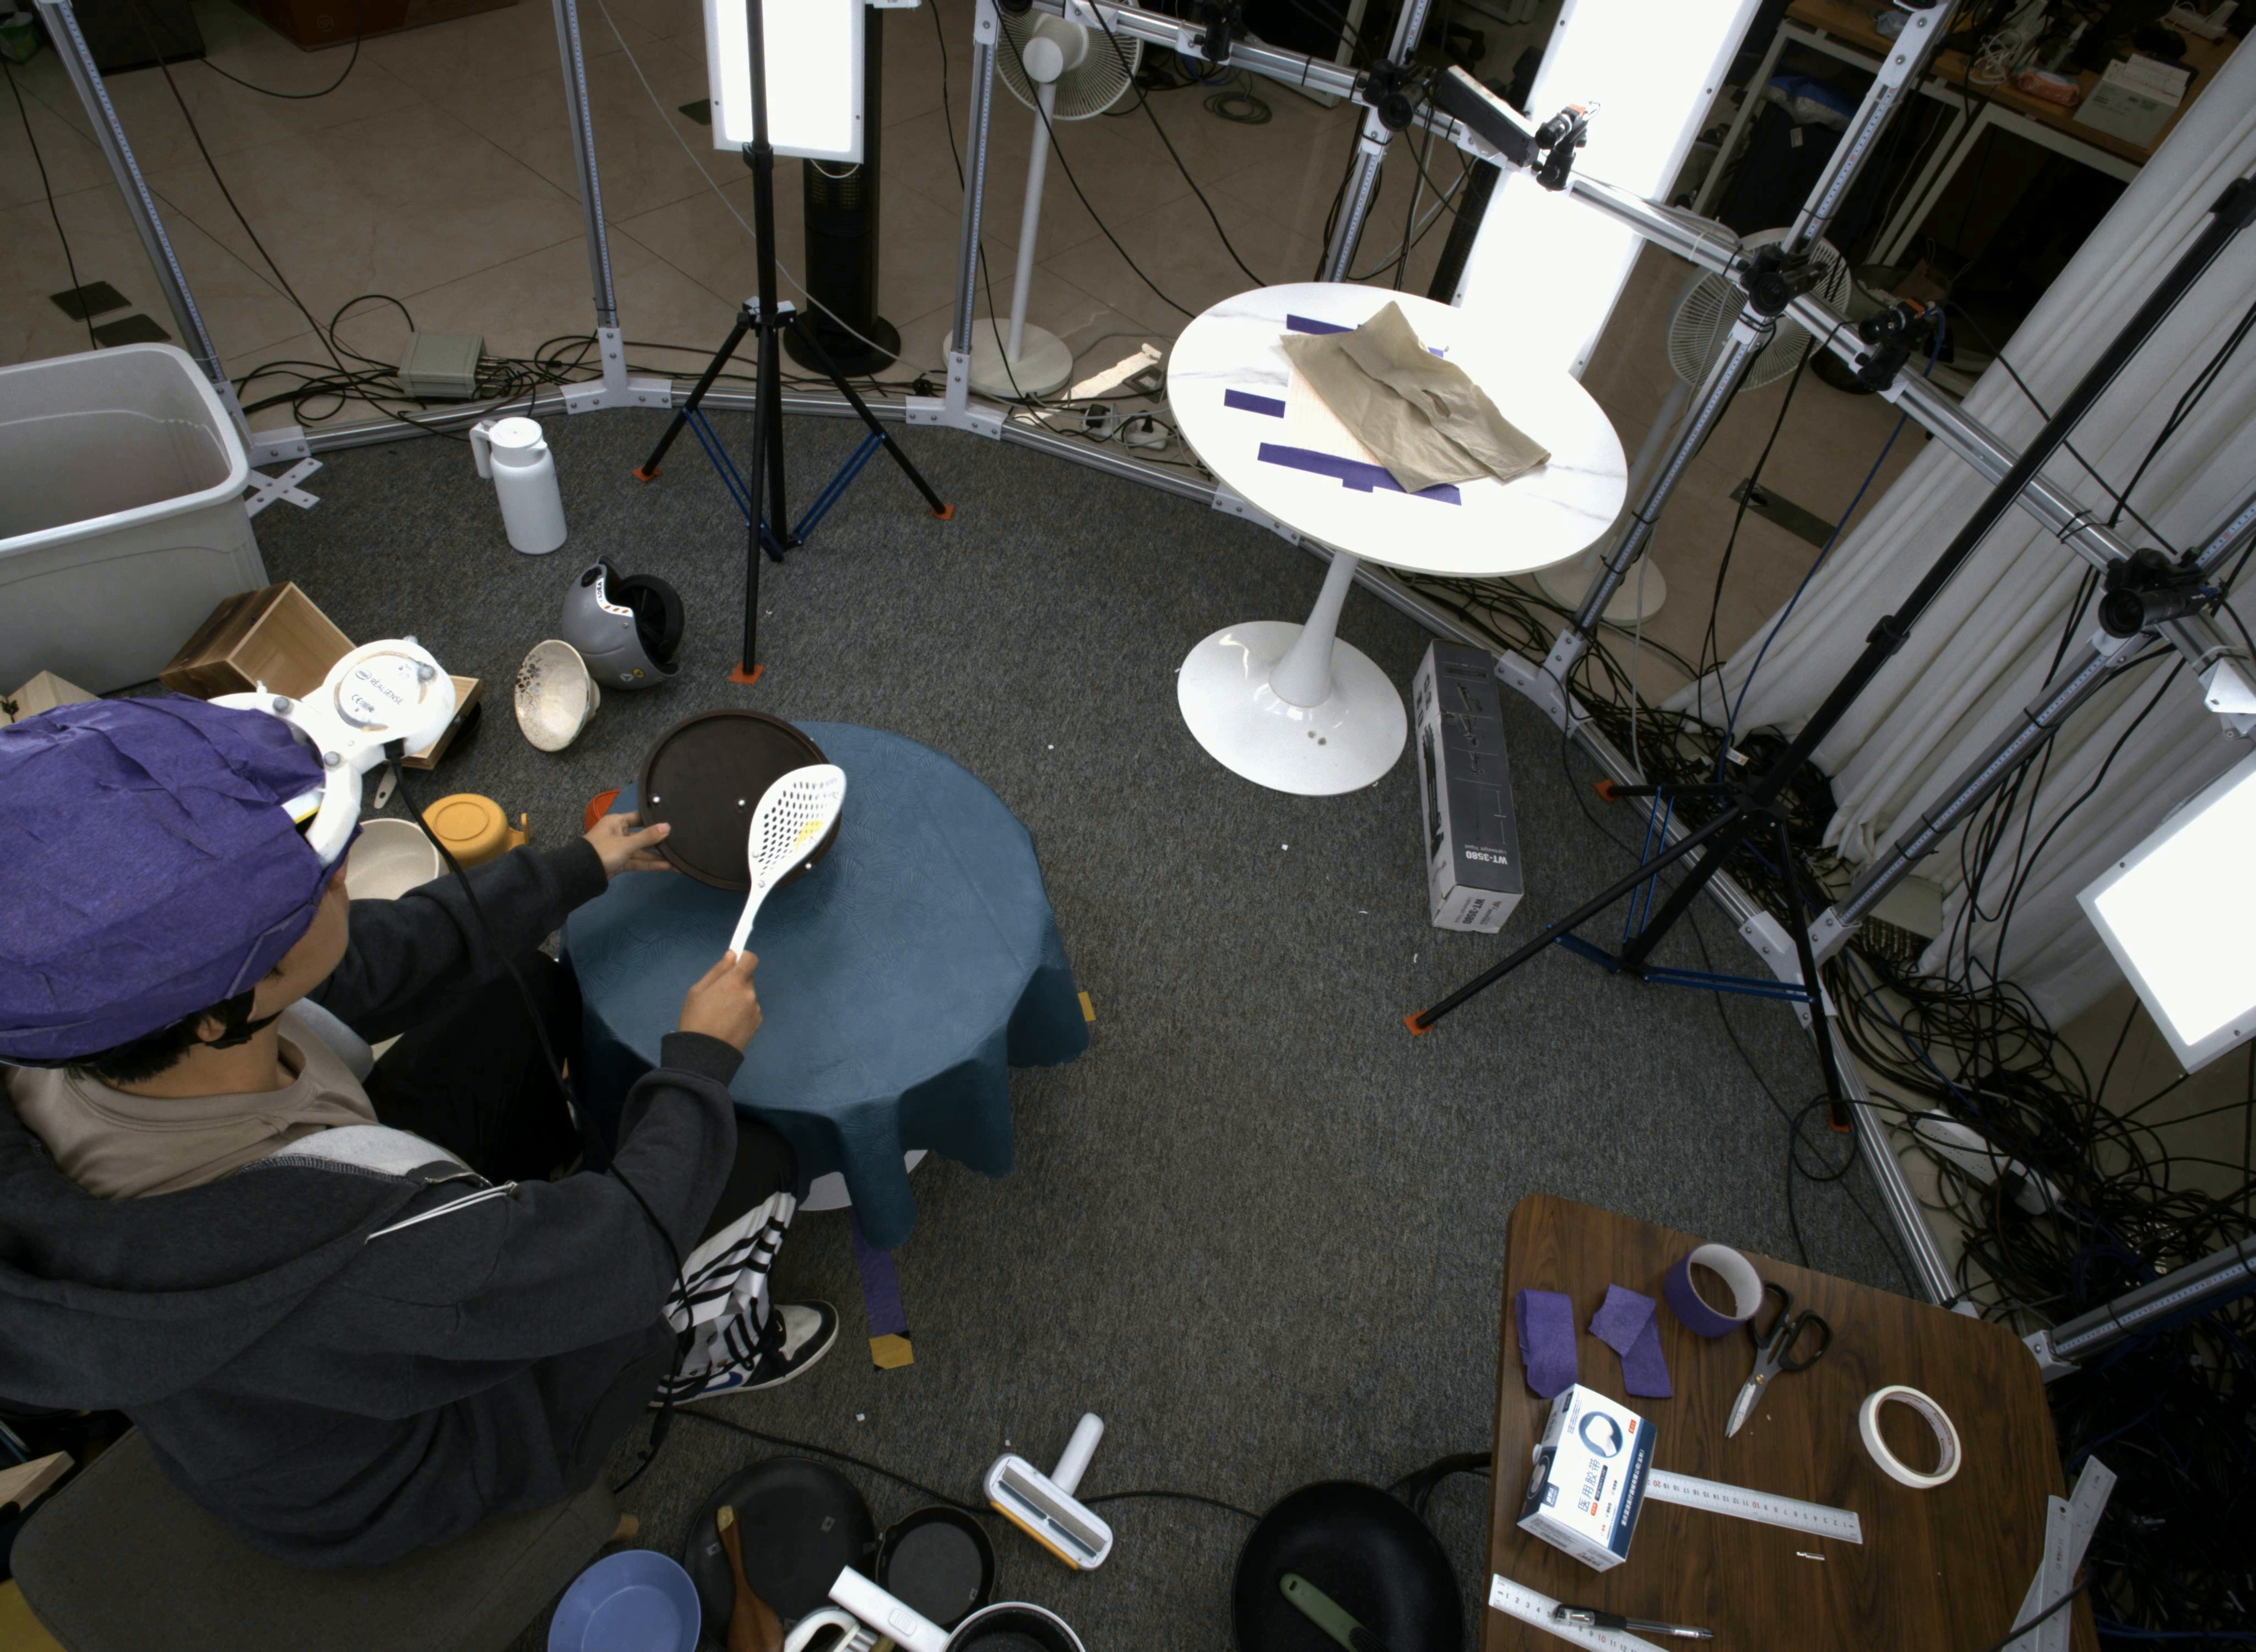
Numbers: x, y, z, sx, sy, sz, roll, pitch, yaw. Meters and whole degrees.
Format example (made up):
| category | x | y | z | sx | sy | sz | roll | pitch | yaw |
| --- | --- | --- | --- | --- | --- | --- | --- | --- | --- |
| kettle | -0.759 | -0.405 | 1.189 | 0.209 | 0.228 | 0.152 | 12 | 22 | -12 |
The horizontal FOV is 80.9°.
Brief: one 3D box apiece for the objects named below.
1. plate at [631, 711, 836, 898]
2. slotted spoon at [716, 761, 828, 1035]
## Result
| category | x | y | z | sx | sy | sz | roll | pitch | yaw |
| --- | --- | --- | --- | --- | --- | --- | --- | --- | --- |
| plate | -0.492 | -0.029 | 1.612 | 0.259 | 0.029 | 0.252 | 14 | 61 | -25 |
| slotted spoon | -0.424 | 0.074 | 1.485 | 0.133 | 0.052 | 0.344 | -9 | 49 | 29 |
